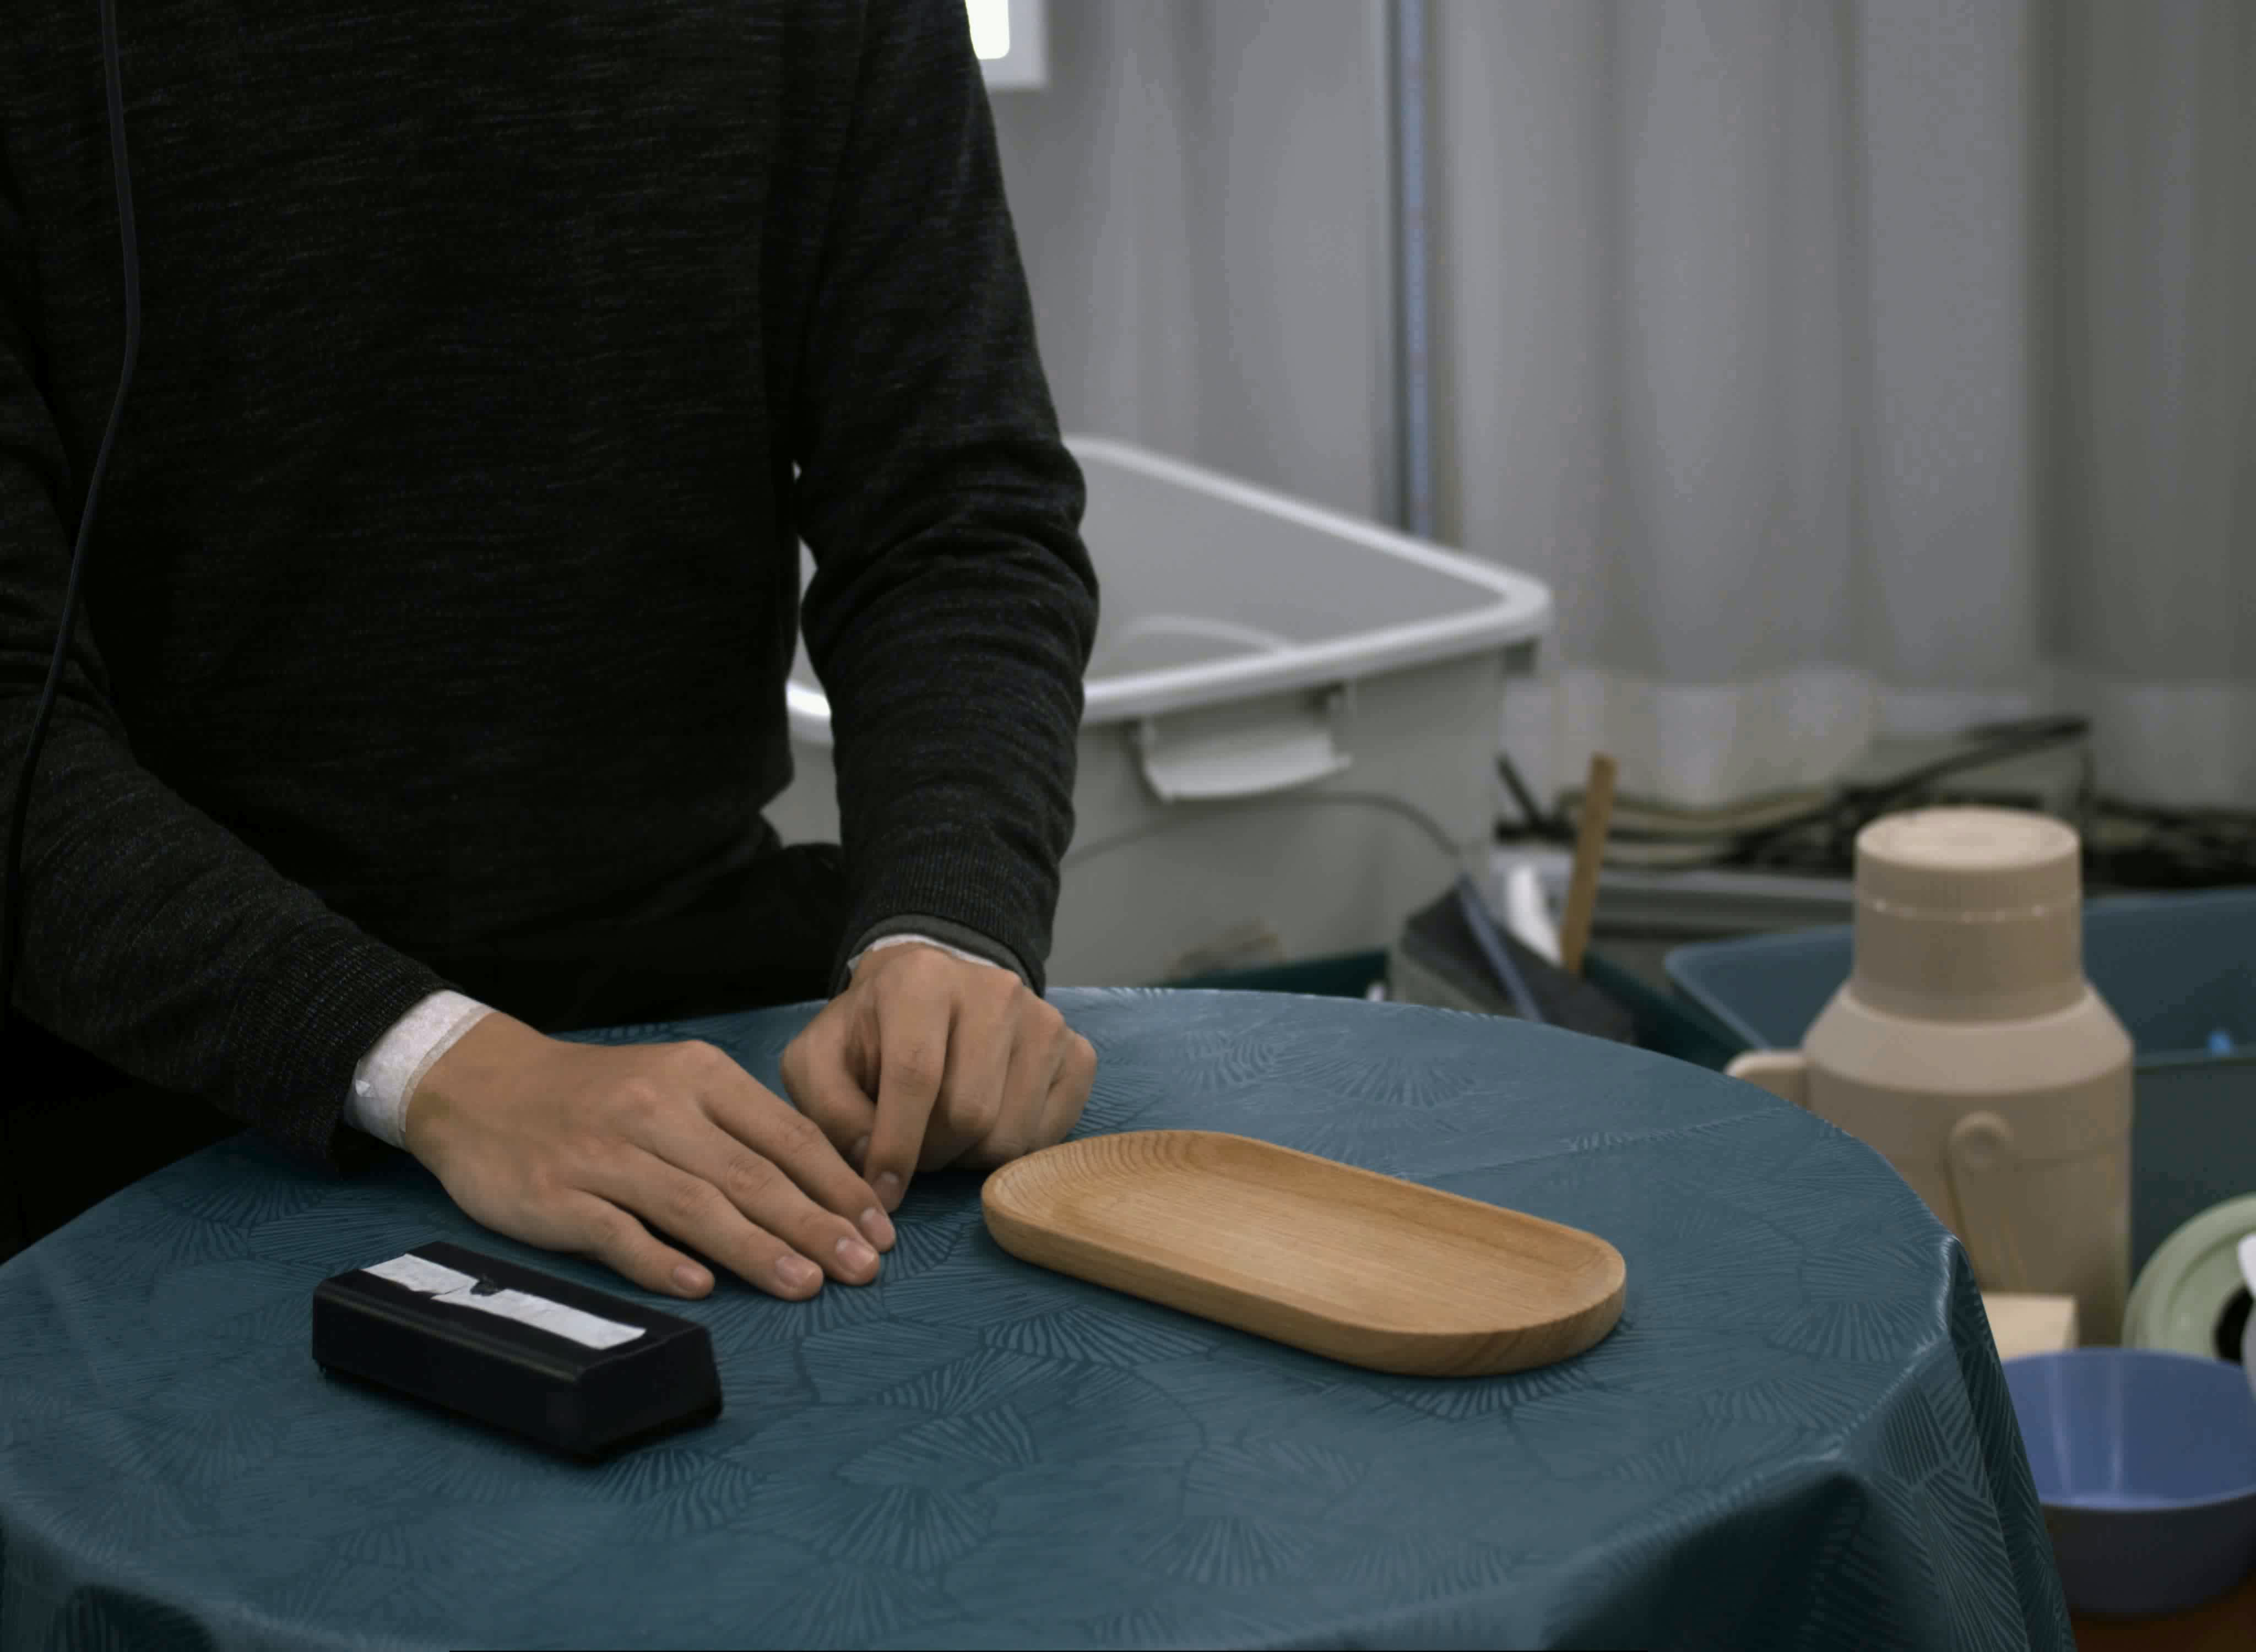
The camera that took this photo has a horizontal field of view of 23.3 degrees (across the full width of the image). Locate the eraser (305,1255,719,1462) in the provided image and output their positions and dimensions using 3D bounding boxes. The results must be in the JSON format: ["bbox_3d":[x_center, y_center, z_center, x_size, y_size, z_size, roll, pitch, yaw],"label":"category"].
[{"bbox_3d":[-0.175,0.151,1.558,0.126,0.030,0.053,10,17,44],"label":"eraser"}]

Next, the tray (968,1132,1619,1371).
[{"bbox_3d":[0.047,0.126,1.631,0.101,0.020,0.232,-14,17,-41],"label":"tray"}]
